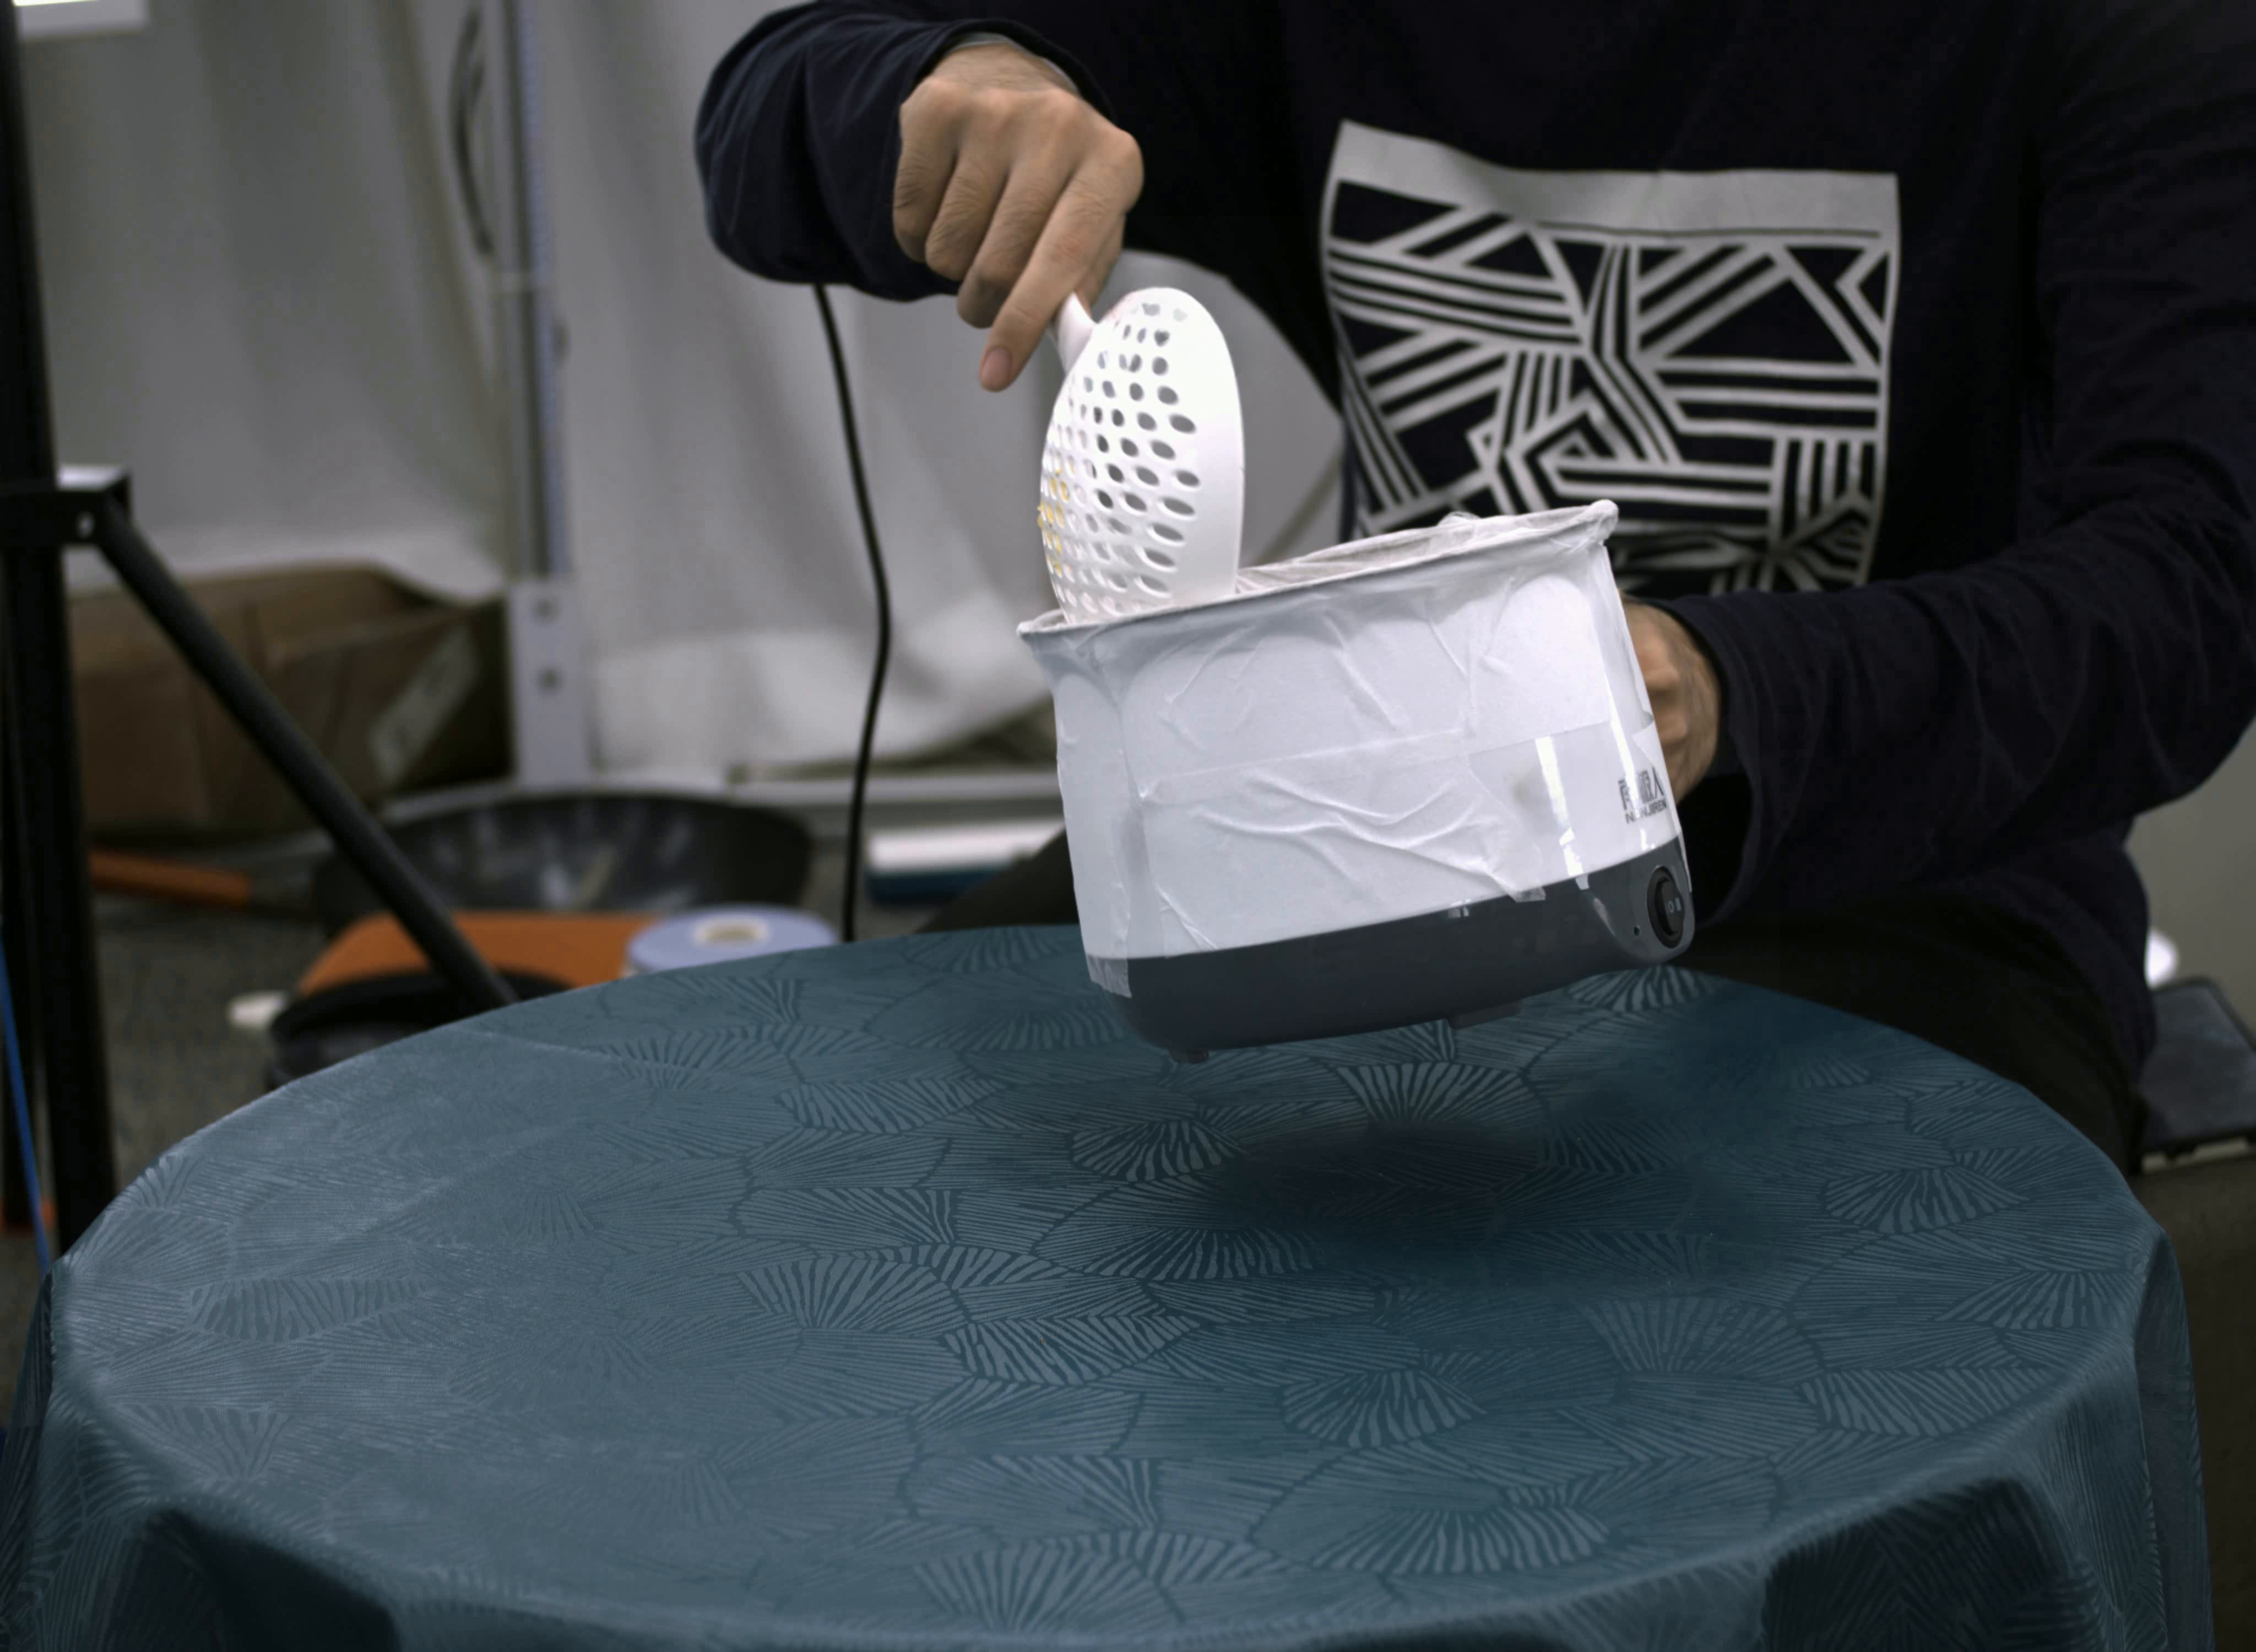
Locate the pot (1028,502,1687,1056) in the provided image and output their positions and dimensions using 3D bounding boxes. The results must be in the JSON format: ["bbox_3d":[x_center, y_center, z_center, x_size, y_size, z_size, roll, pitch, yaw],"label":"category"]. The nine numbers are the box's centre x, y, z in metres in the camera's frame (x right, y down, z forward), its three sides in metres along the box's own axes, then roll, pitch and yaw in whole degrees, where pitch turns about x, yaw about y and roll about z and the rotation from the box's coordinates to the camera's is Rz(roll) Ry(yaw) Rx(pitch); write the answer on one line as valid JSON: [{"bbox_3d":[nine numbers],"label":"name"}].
[{"bbox_3d":[0.079,-0.018,1.563,0.181,0.137,0.229,-6,7,27],"label":"pot"}]

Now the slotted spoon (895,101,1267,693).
[{"bbox_3d":[-0.020,-0.142,1.612,0.049,0.136,0.353,0,28,-12],"label":"slotted spoon"}]
